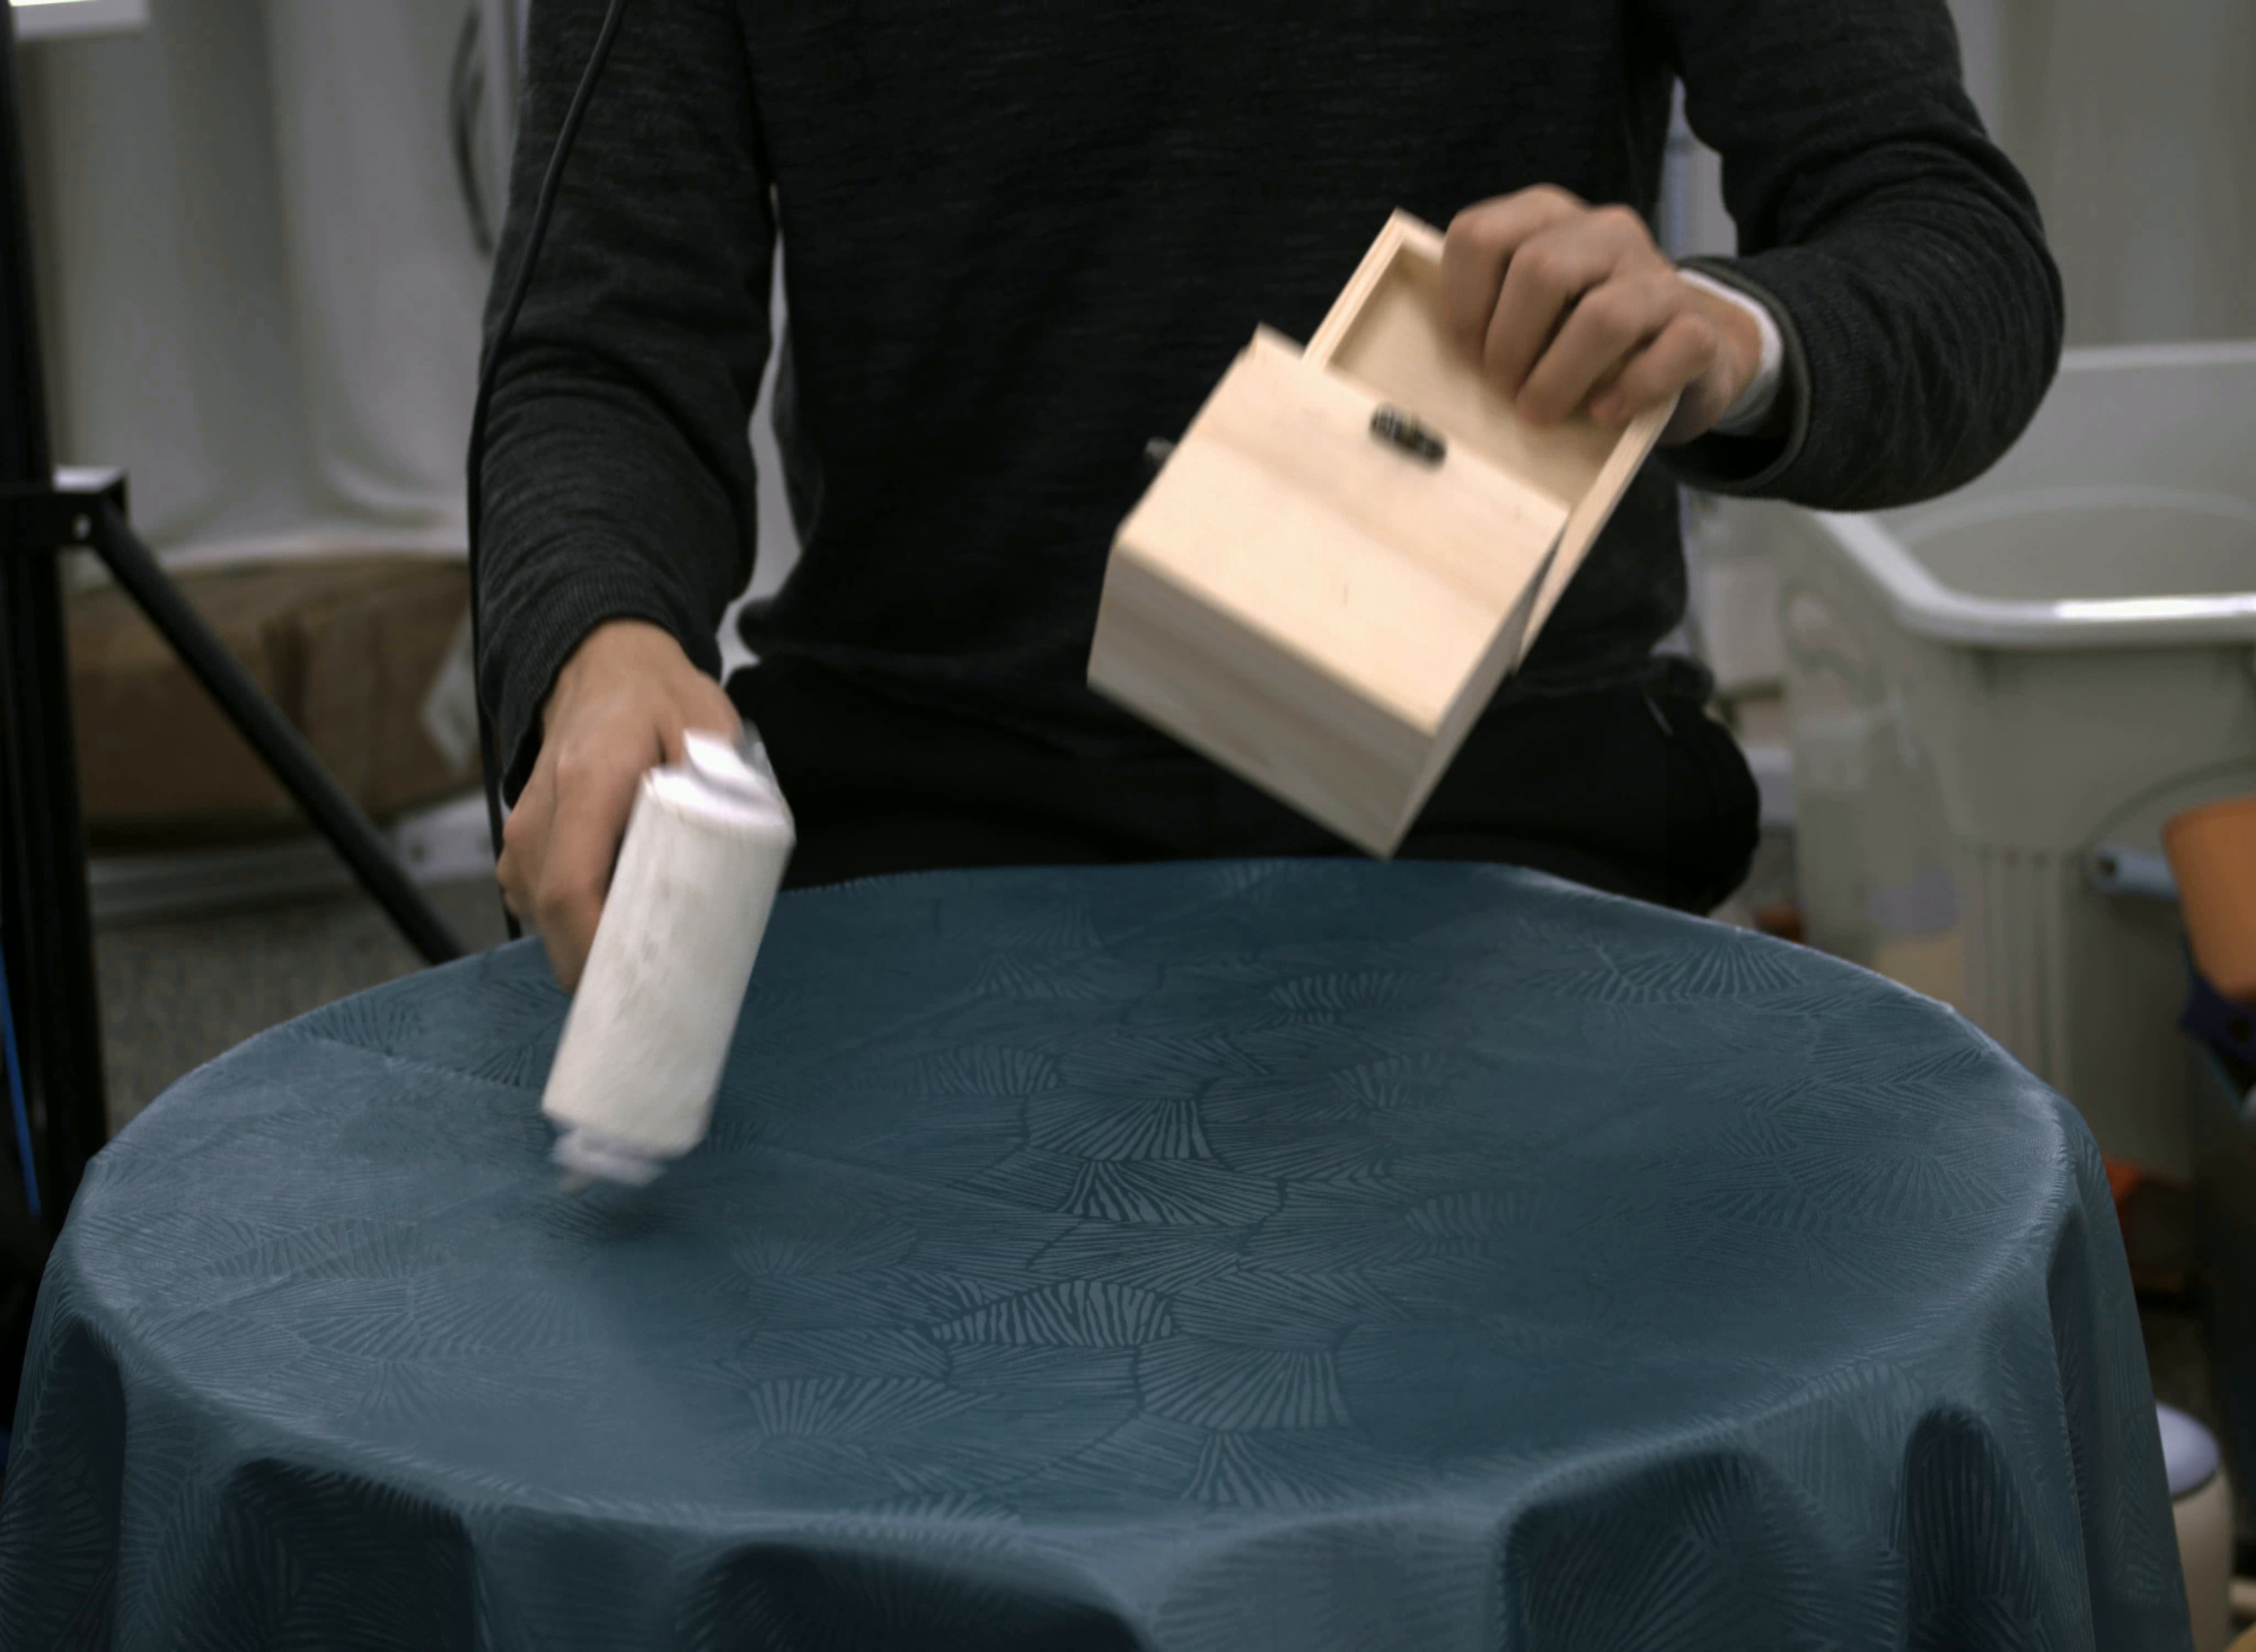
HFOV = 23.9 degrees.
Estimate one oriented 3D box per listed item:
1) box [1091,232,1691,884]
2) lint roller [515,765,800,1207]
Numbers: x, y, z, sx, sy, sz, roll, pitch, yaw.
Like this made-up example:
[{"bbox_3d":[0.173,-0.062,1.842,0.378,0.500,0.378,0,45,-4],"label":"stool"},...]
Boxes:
[{"bbox_3d":[0.081,-0.094,1.498,0.103,0.184,0.133,30,-20,8],"label":"box"},{"bbox_3d":[-0.154,0.027,1.599,0.049,0.133,0.184,21,11,-23],"label":"lint roller"}]
